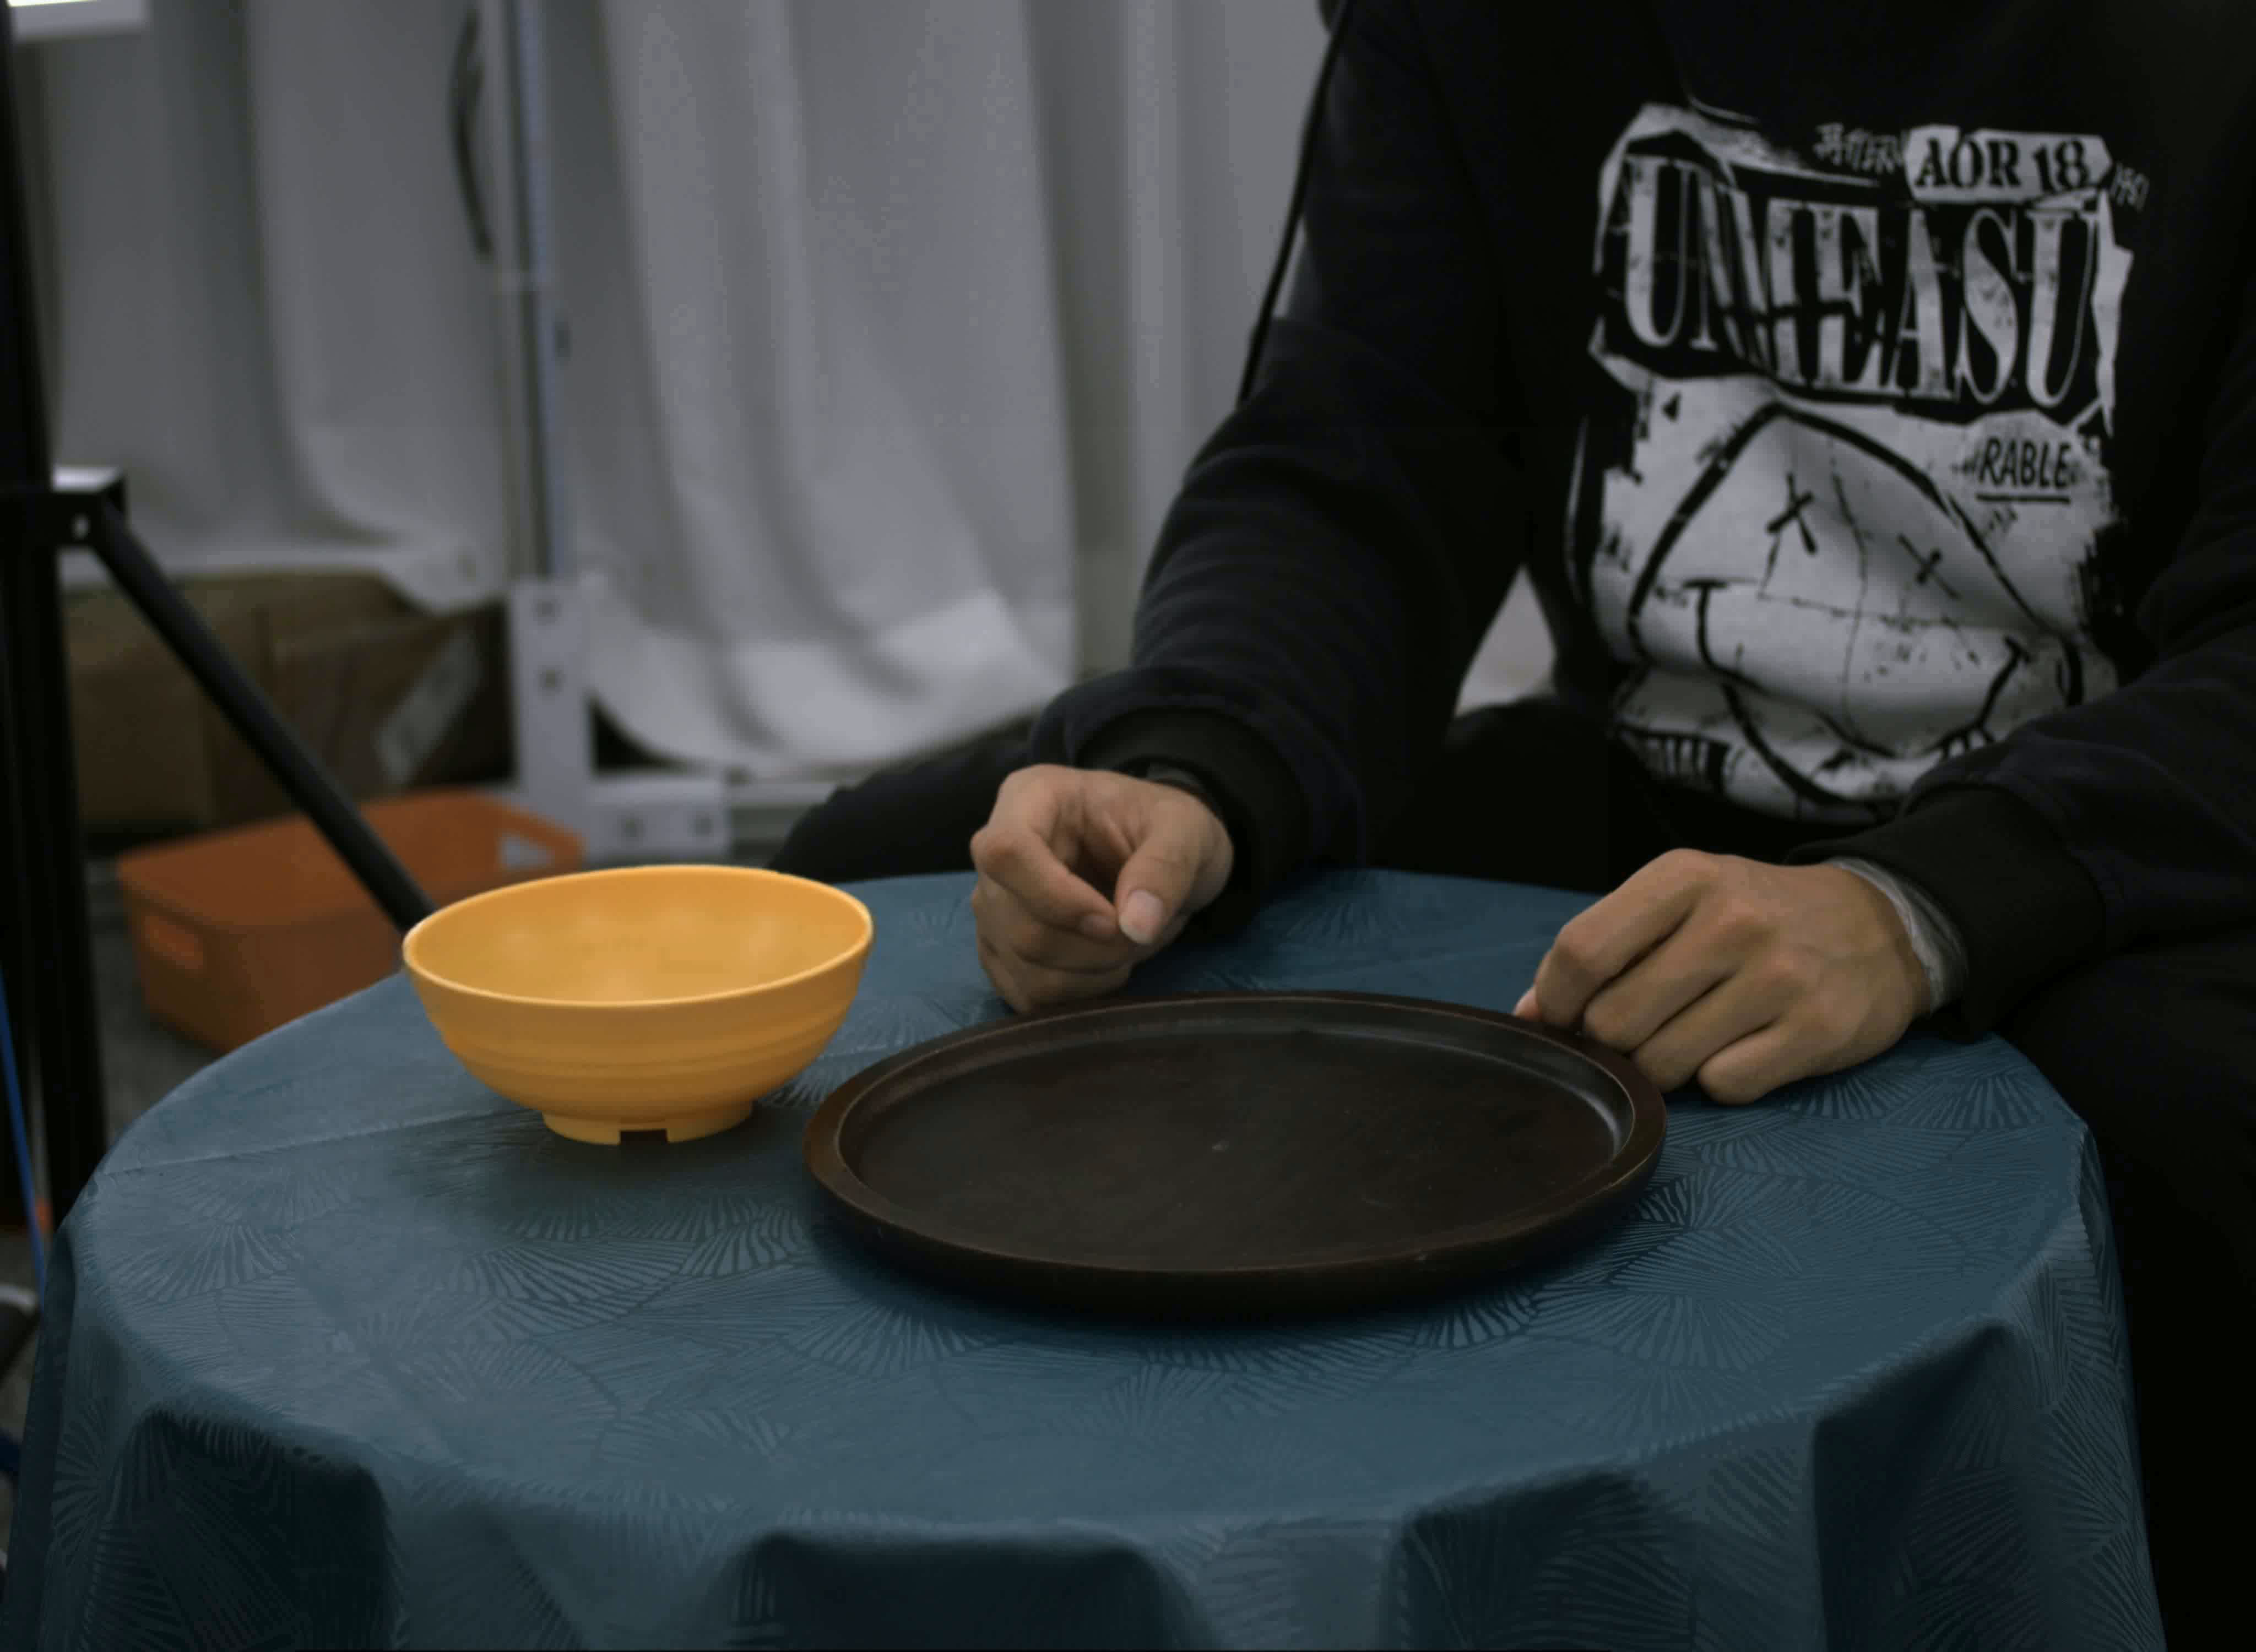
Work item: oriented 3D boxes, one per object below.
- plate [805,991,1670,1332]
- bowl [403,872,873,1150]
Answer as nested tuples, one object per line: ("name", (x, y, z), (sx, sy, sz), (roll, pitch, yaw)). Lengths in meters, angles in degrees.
("plate", (0.032, 0.096, 1.555), (0.253, 0.029, 0.256), (-4, 14, 0))
("bowl", (-0.150, 0.062, 1.645), (0.144, 0.060, 0.146), (0, 15, -1))
